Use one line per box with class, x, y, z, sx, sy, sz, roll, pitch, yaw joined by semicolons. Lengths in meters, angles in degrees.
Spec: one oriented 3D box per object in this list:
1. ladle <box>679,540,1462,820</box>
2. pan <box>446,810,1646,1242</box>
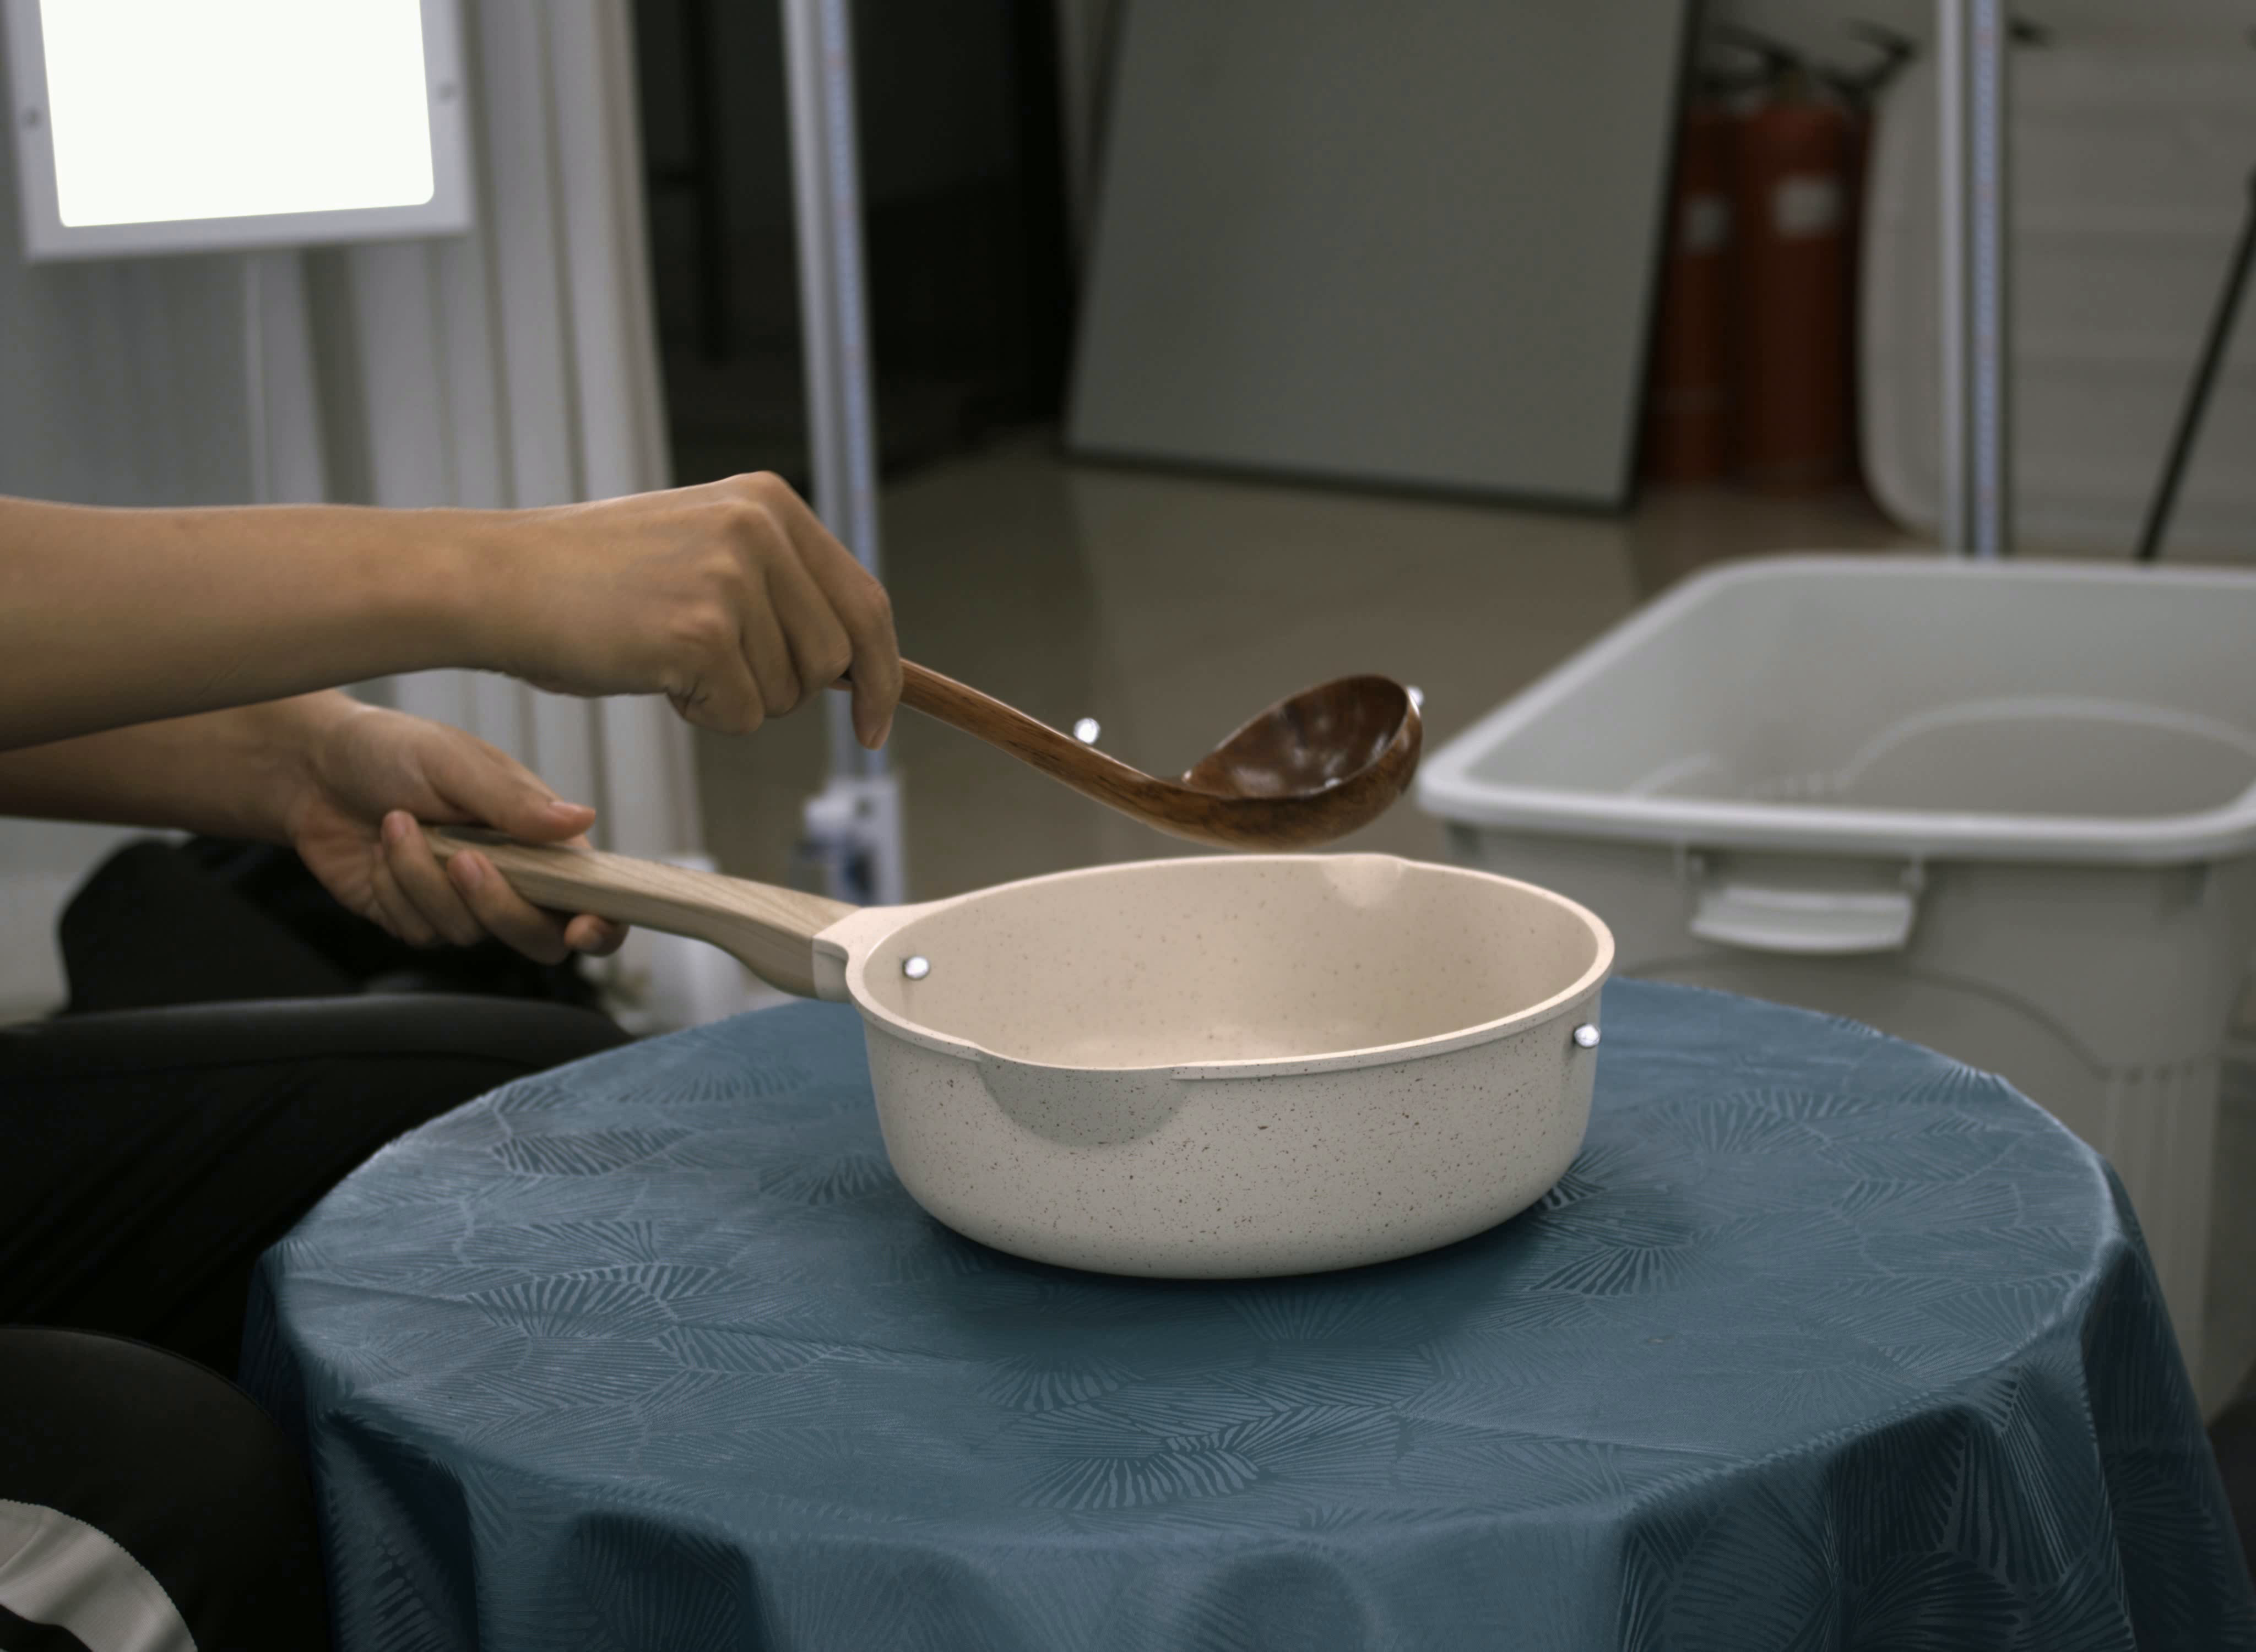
ladle;-0.012;-0.066;1.702;0.268;0.077;0.083;23;-9;-28
pan;-0.035;0.057;1.814;0.435;0.103;0.260;2;16;25
